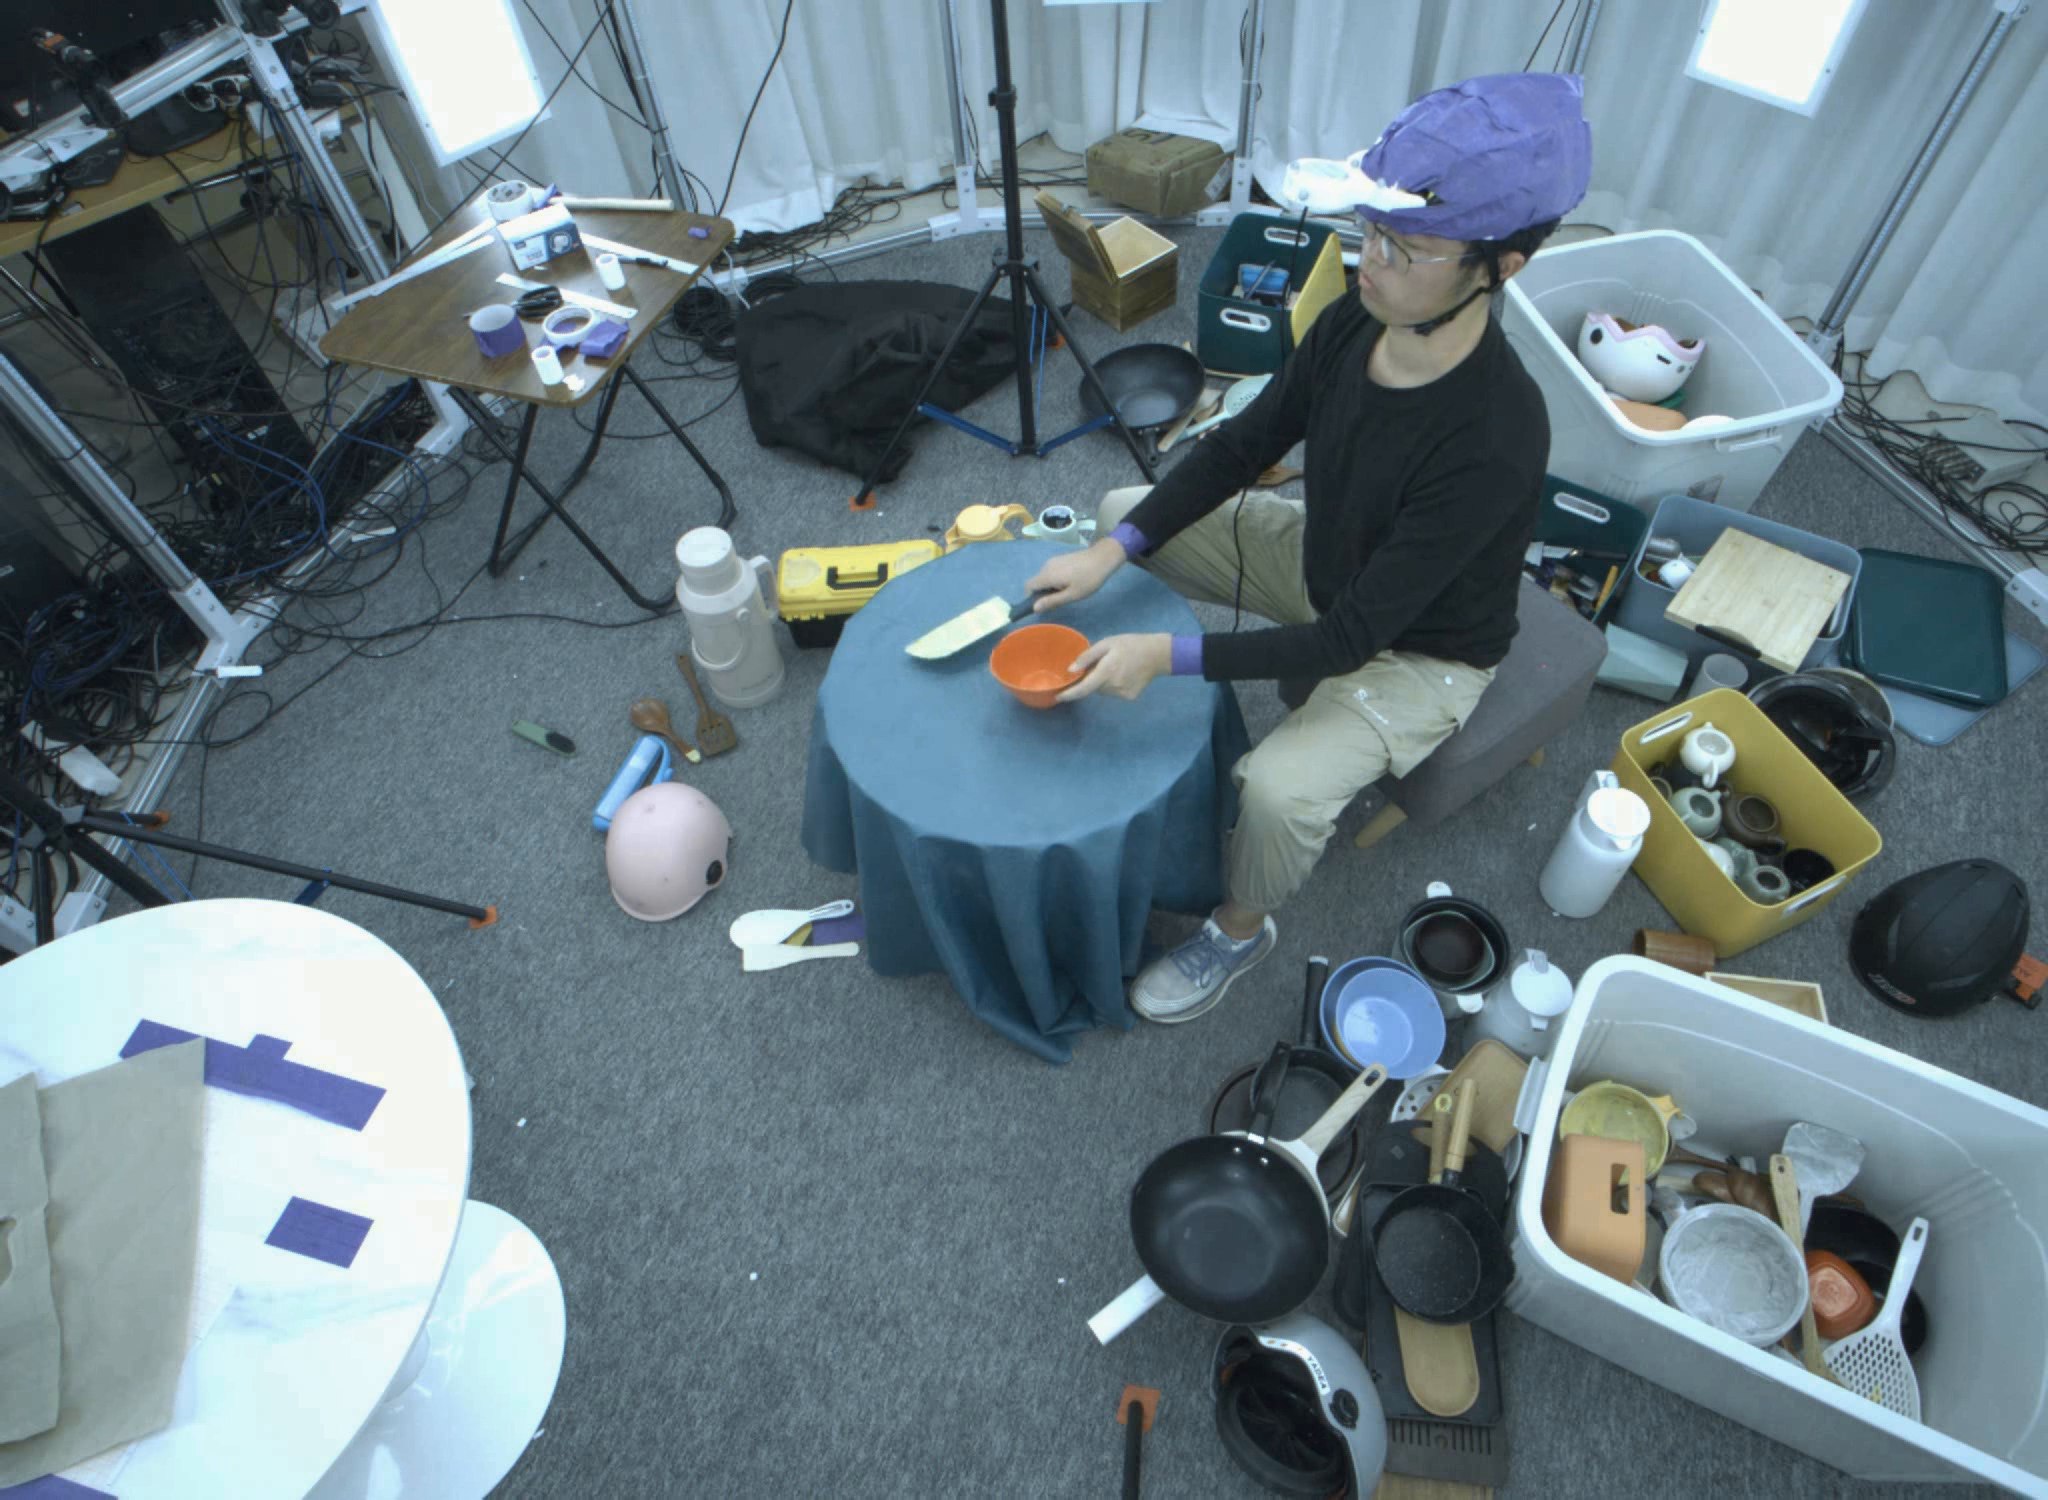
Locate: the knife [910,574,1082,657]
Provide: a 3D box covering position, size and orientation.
[{"bbox_3d":[-0.045,-0.210,1.889,0.291,0.027,0.079,-25,46,-12],"label":"knife"}]

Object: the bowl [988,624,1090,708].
[{"bbox_3d":[0.025,-0.109,1.798,0.148,0.106,0.146,-1,54,3],"label":"bowl"}]
